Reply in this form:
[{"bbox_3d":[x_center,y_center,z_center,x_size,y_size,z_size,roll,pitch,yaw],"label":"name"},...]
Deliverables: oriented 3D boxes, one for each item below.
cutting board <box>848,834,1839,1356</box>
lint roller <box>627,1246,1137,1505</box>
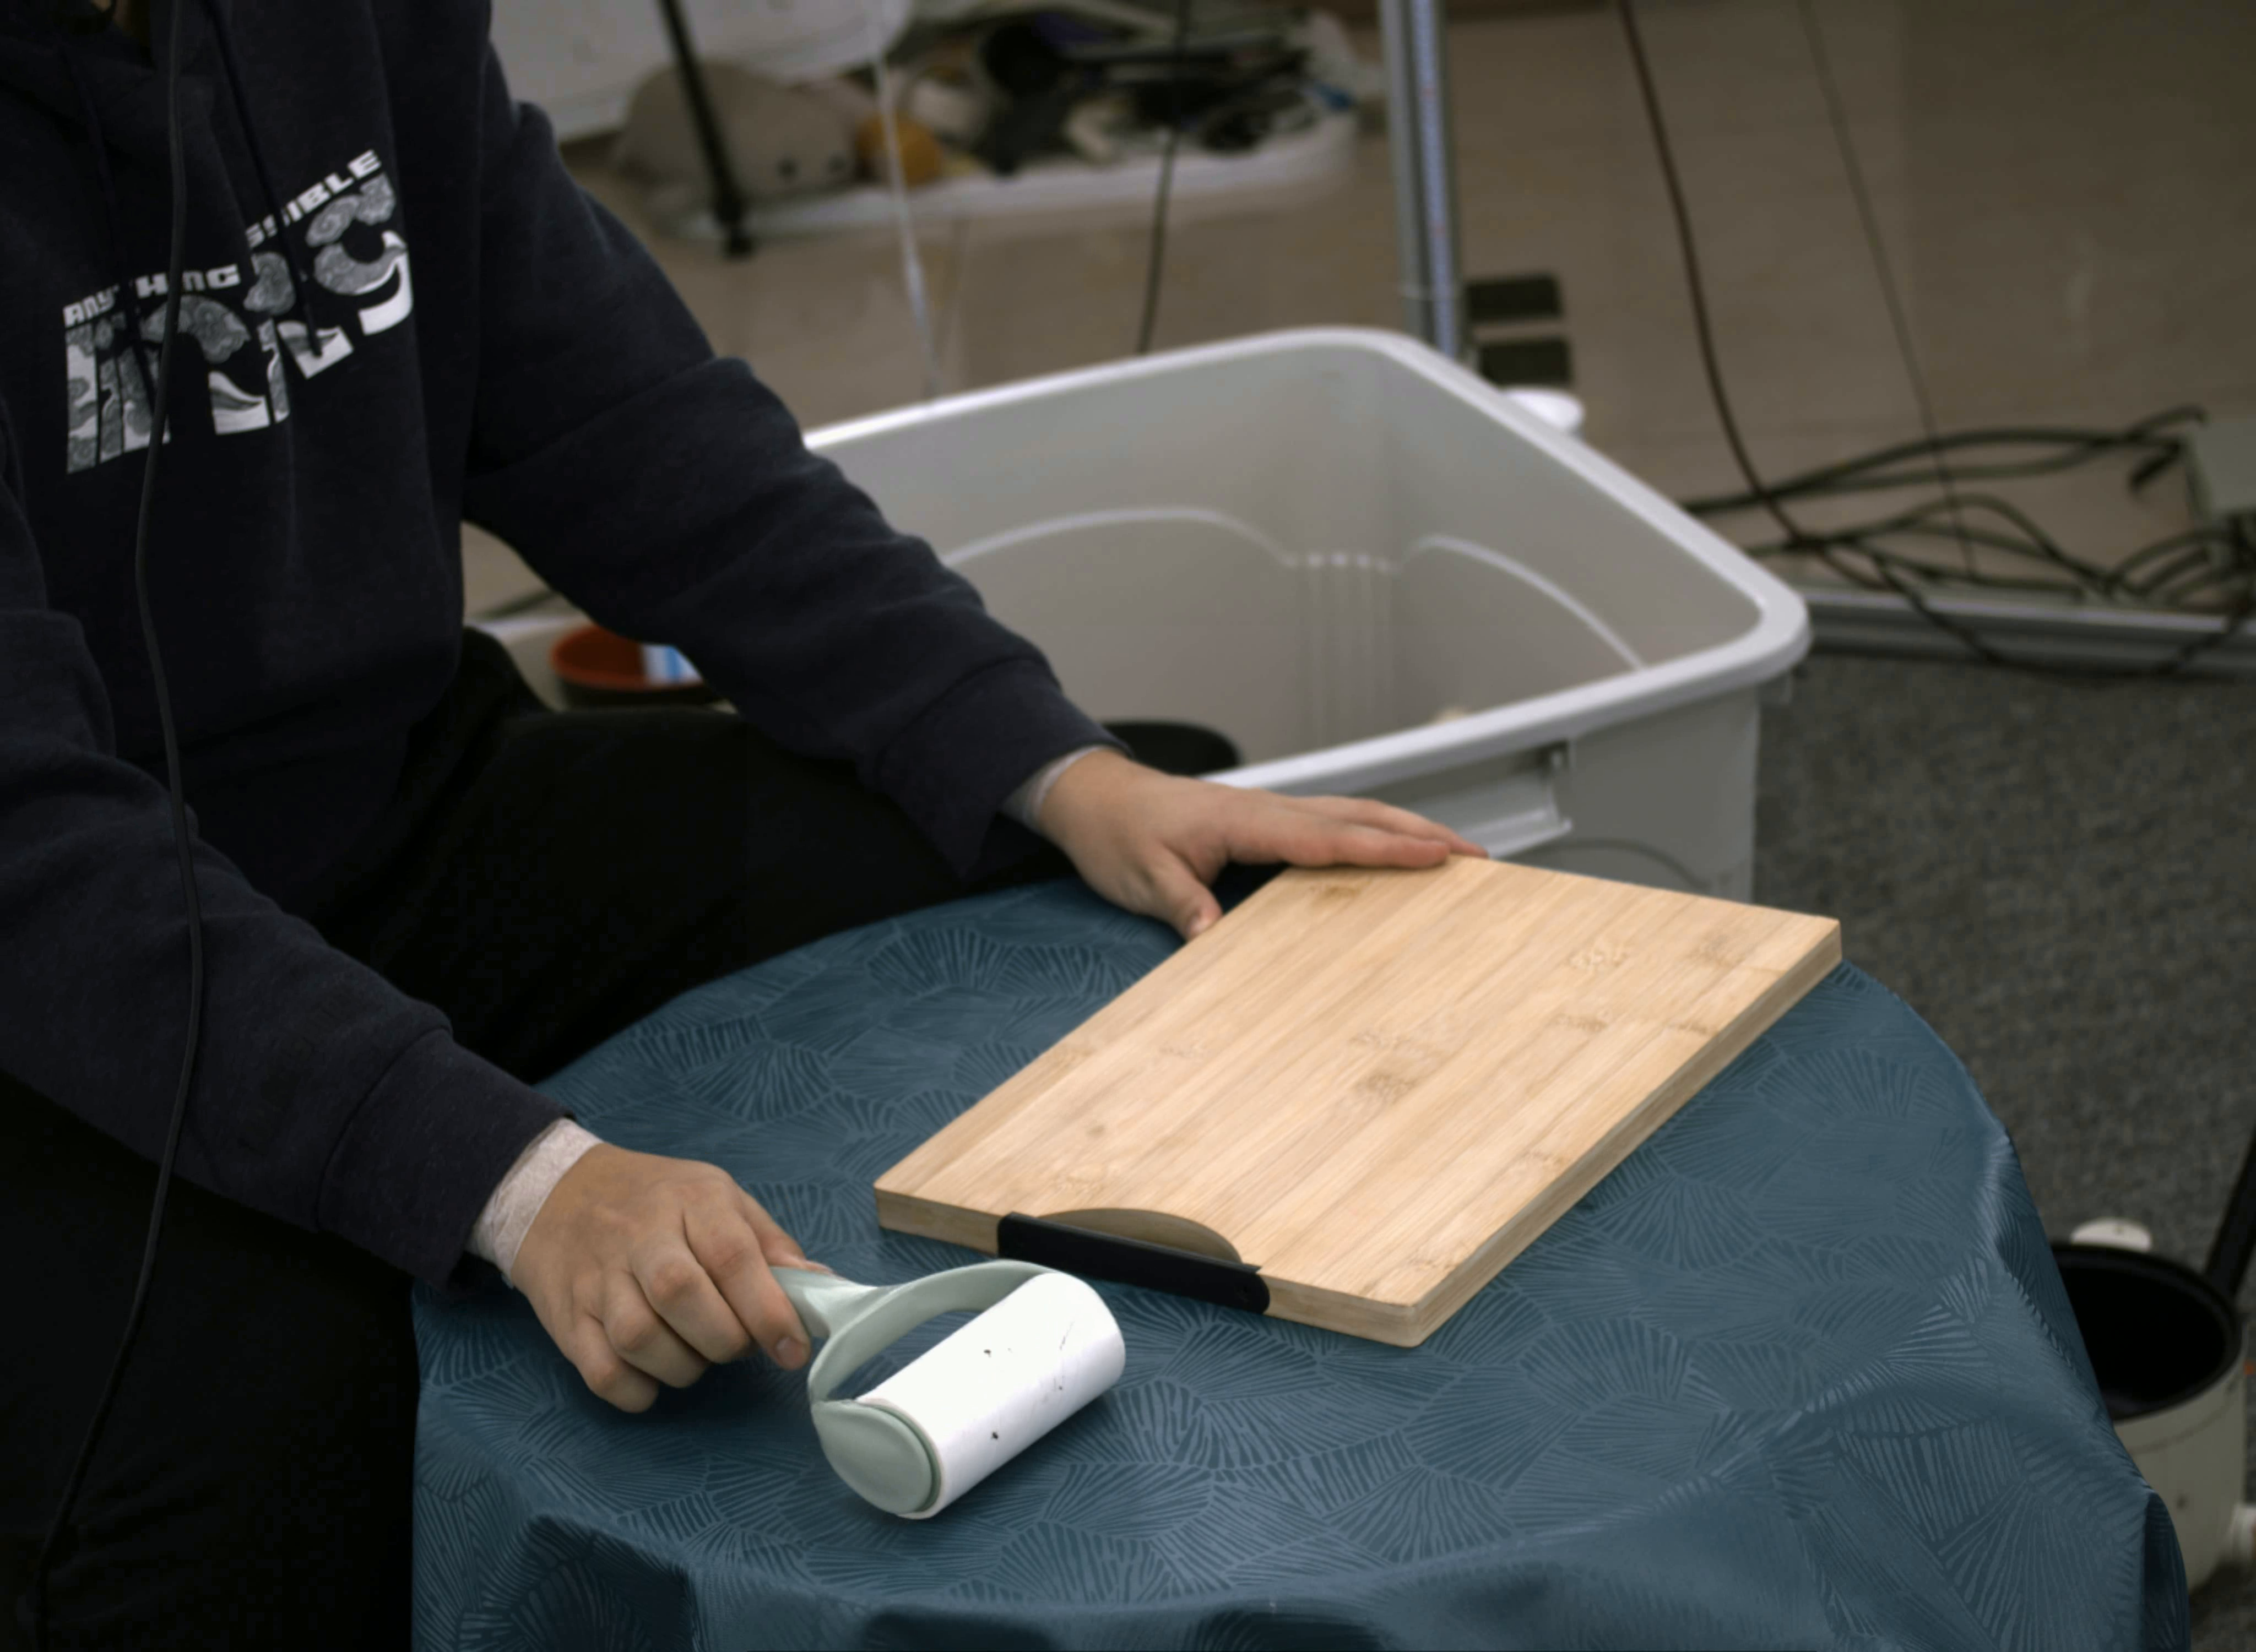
[{"bbox_3d":[0.090,0.097,2.199,0.249,0.024,0.345,9,29,32],"label":"cutting board"},{"bbox_3d":[-0.102,0.181,2.023,0.196,0.049,0.115,12,33,36],"label":"lint roller"}]
